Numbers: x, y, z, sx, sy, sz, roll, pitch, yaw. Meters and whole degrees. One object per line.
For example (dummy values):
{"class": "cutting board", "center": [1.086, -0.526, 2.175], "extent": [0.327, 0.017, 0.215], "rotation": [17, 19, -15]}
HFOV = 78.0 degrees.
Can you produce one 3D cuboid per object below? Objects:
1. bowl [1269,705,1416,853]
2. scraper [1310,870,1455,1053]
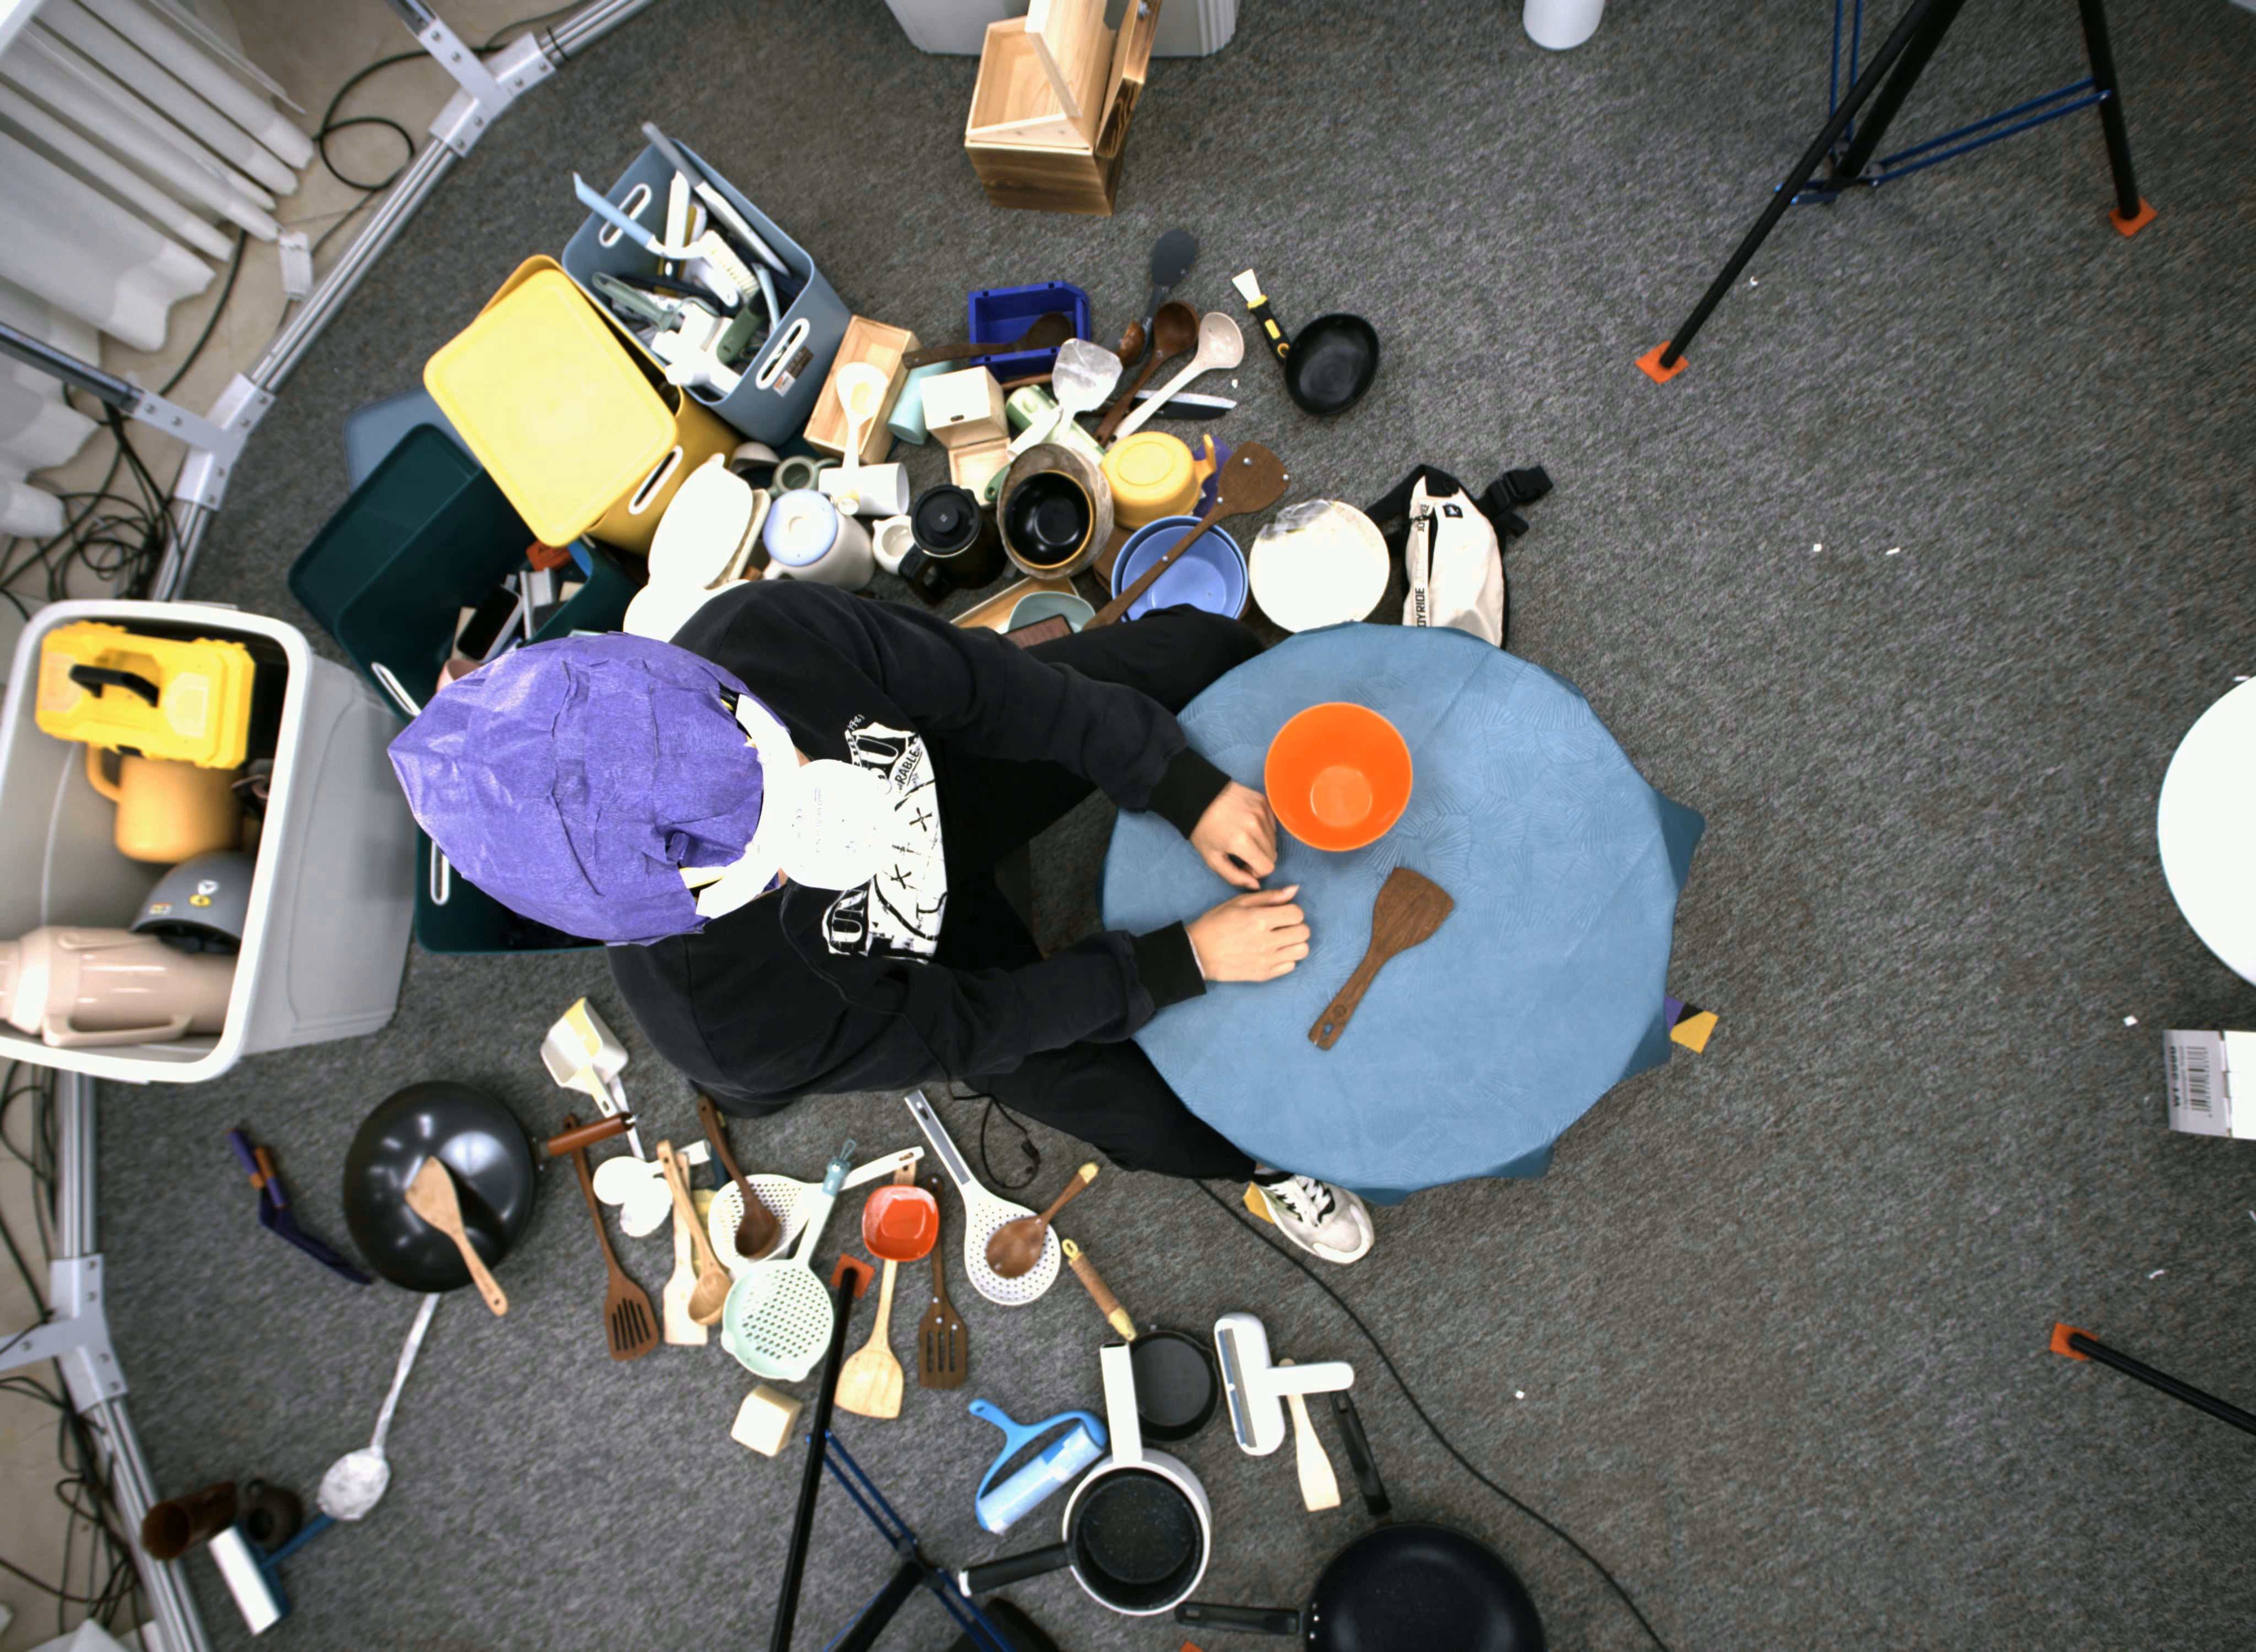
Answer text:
{"class": "bowl", "center": [0.222, -0.043, 1.430], "extent": [0.148, 0.105, 0.147], "rotation": [-1, 85, 9]}
{"class": "scraper", "center": [0.260, 0.146, 1.458], "extent": [0.075, 0.011, 0.212], "rotation": [35, 93, 12]}
